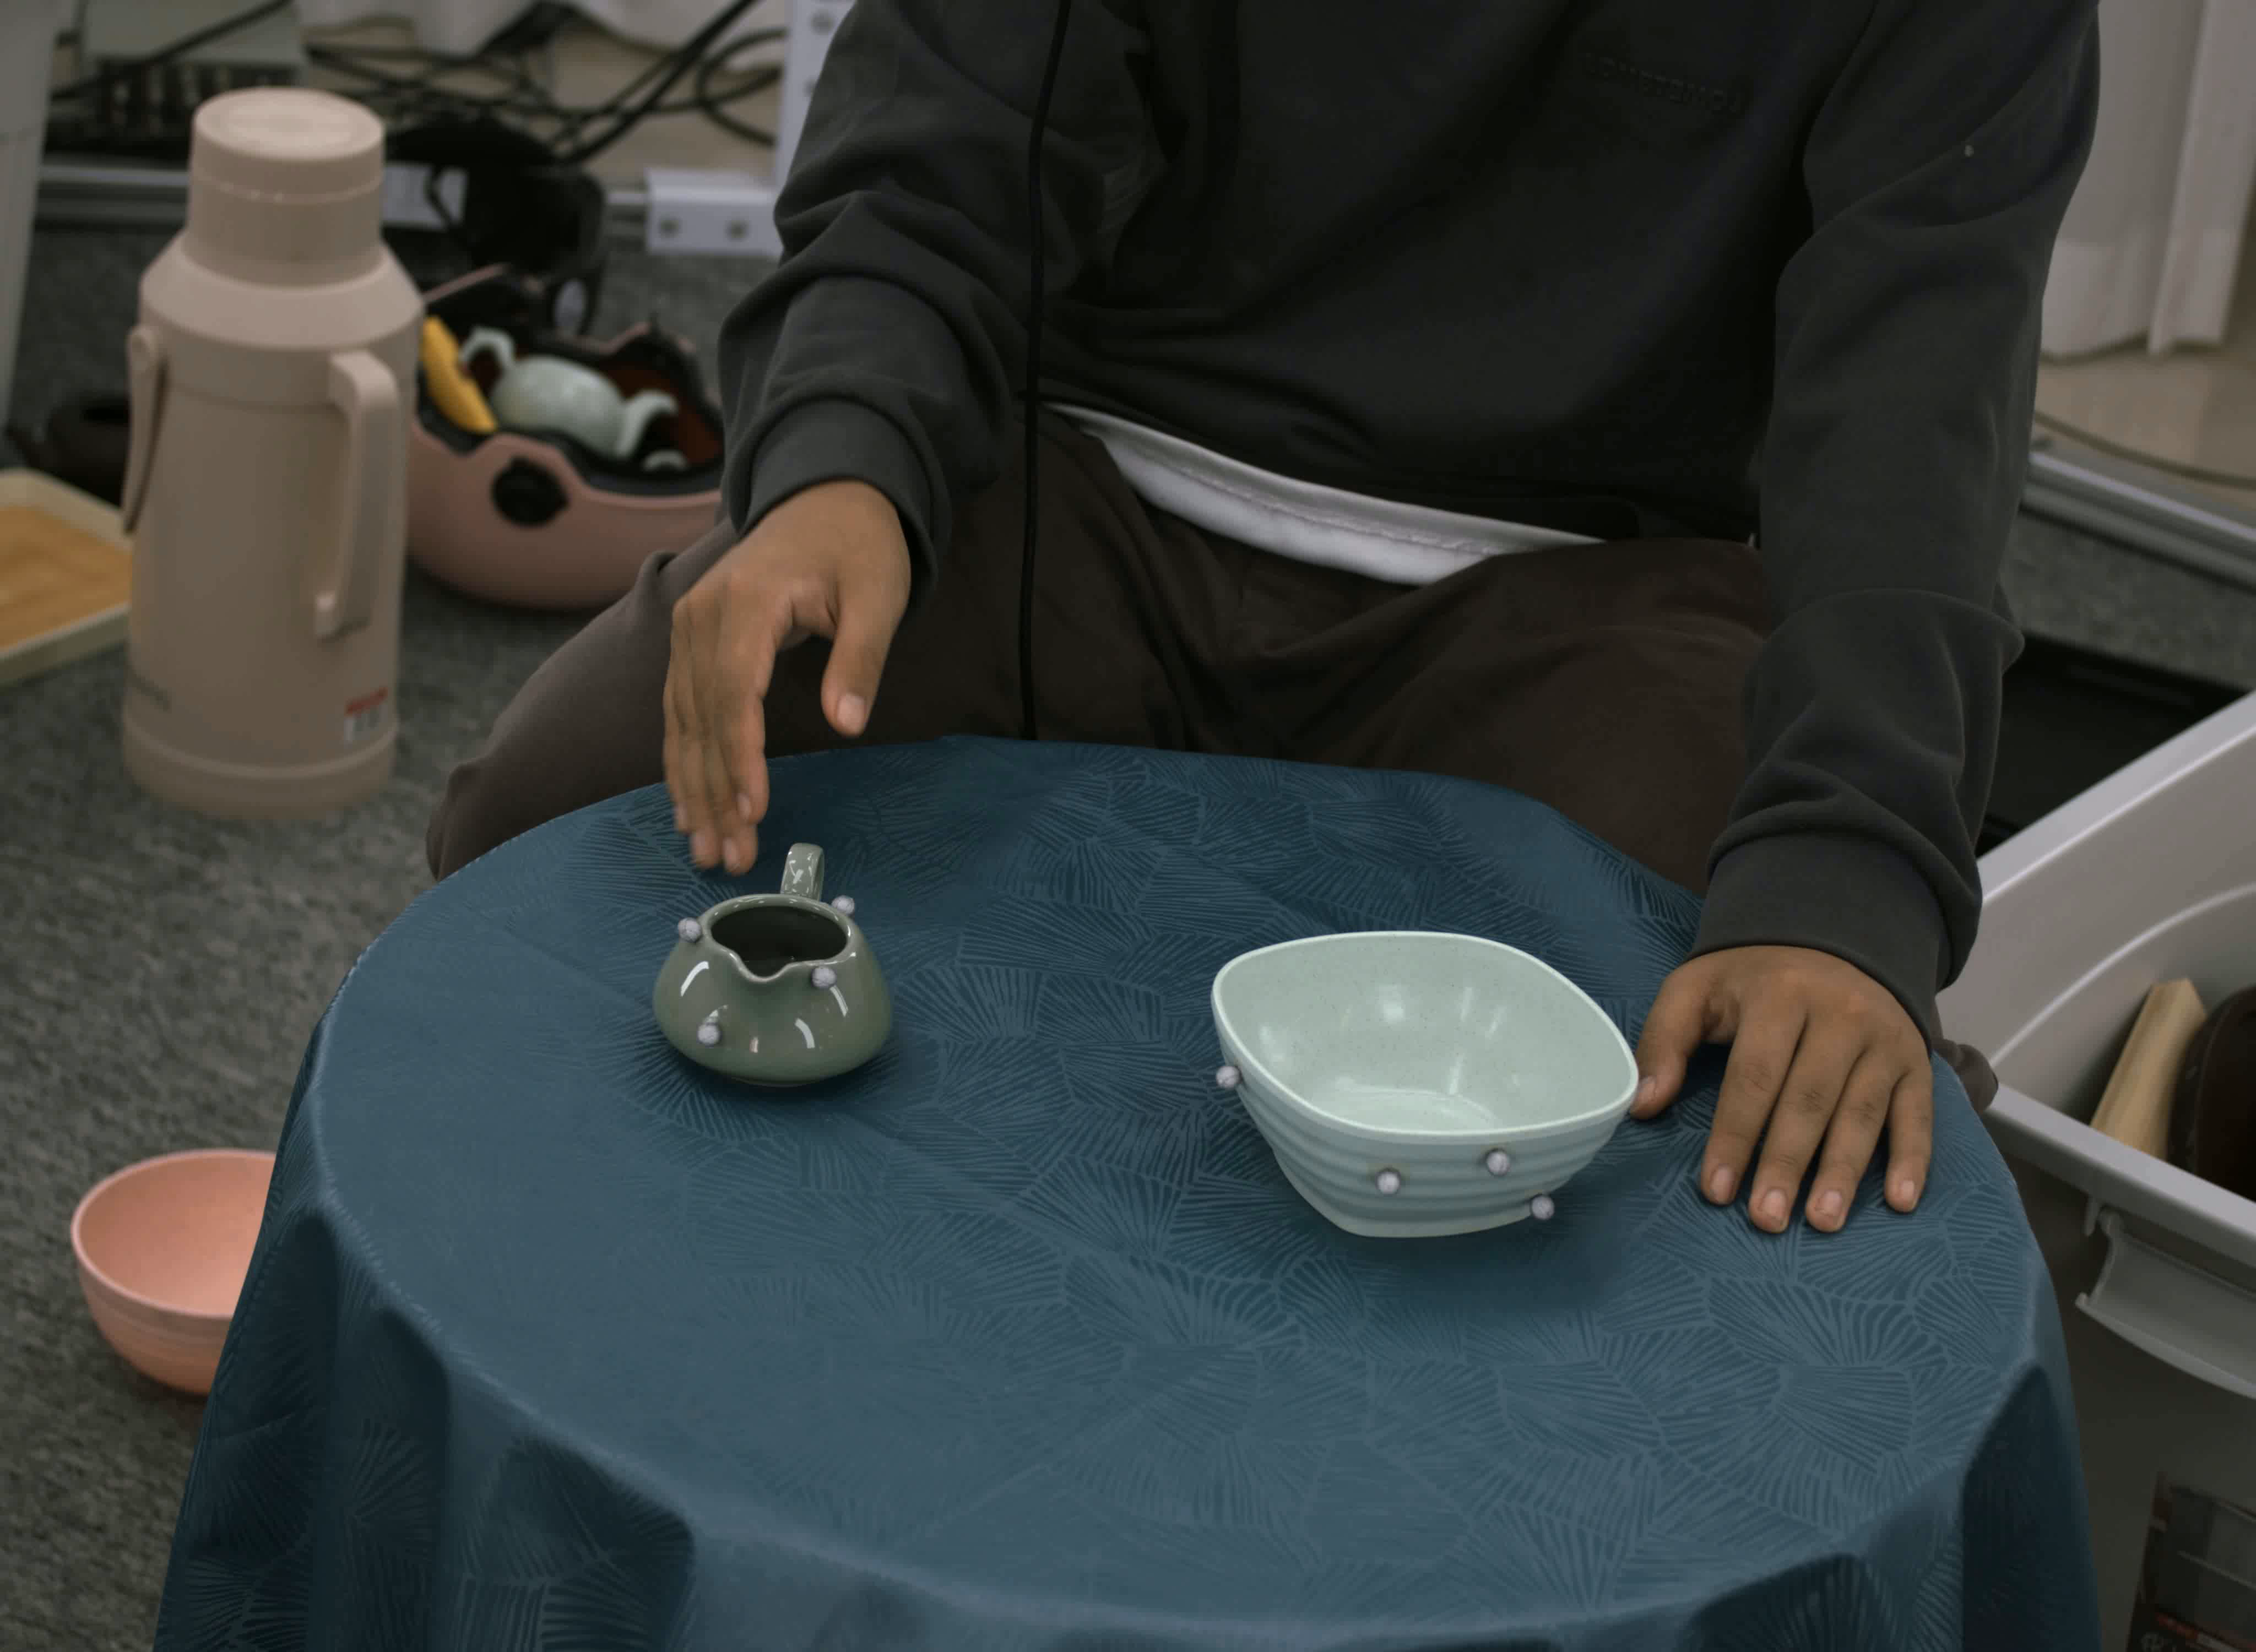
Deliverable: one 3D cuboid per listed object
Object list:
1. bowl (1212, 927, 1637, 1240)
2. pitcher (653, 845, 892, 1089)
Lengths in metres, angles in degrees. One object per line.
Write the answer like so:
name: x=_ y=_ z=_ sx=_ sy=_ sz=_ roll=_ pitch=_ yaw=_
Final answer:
bowl: x=0.098 y=0.094 z=1.827 sx=0.151 sy=0.058 sz=0.152 roll=5 pitch=28 yaw=-3
pitcher: x=-0.122 y=0.051 z=1.860 sx=0.084 sy=0.056 sz=0.113 roll=8 pitch=26 yaw=1
